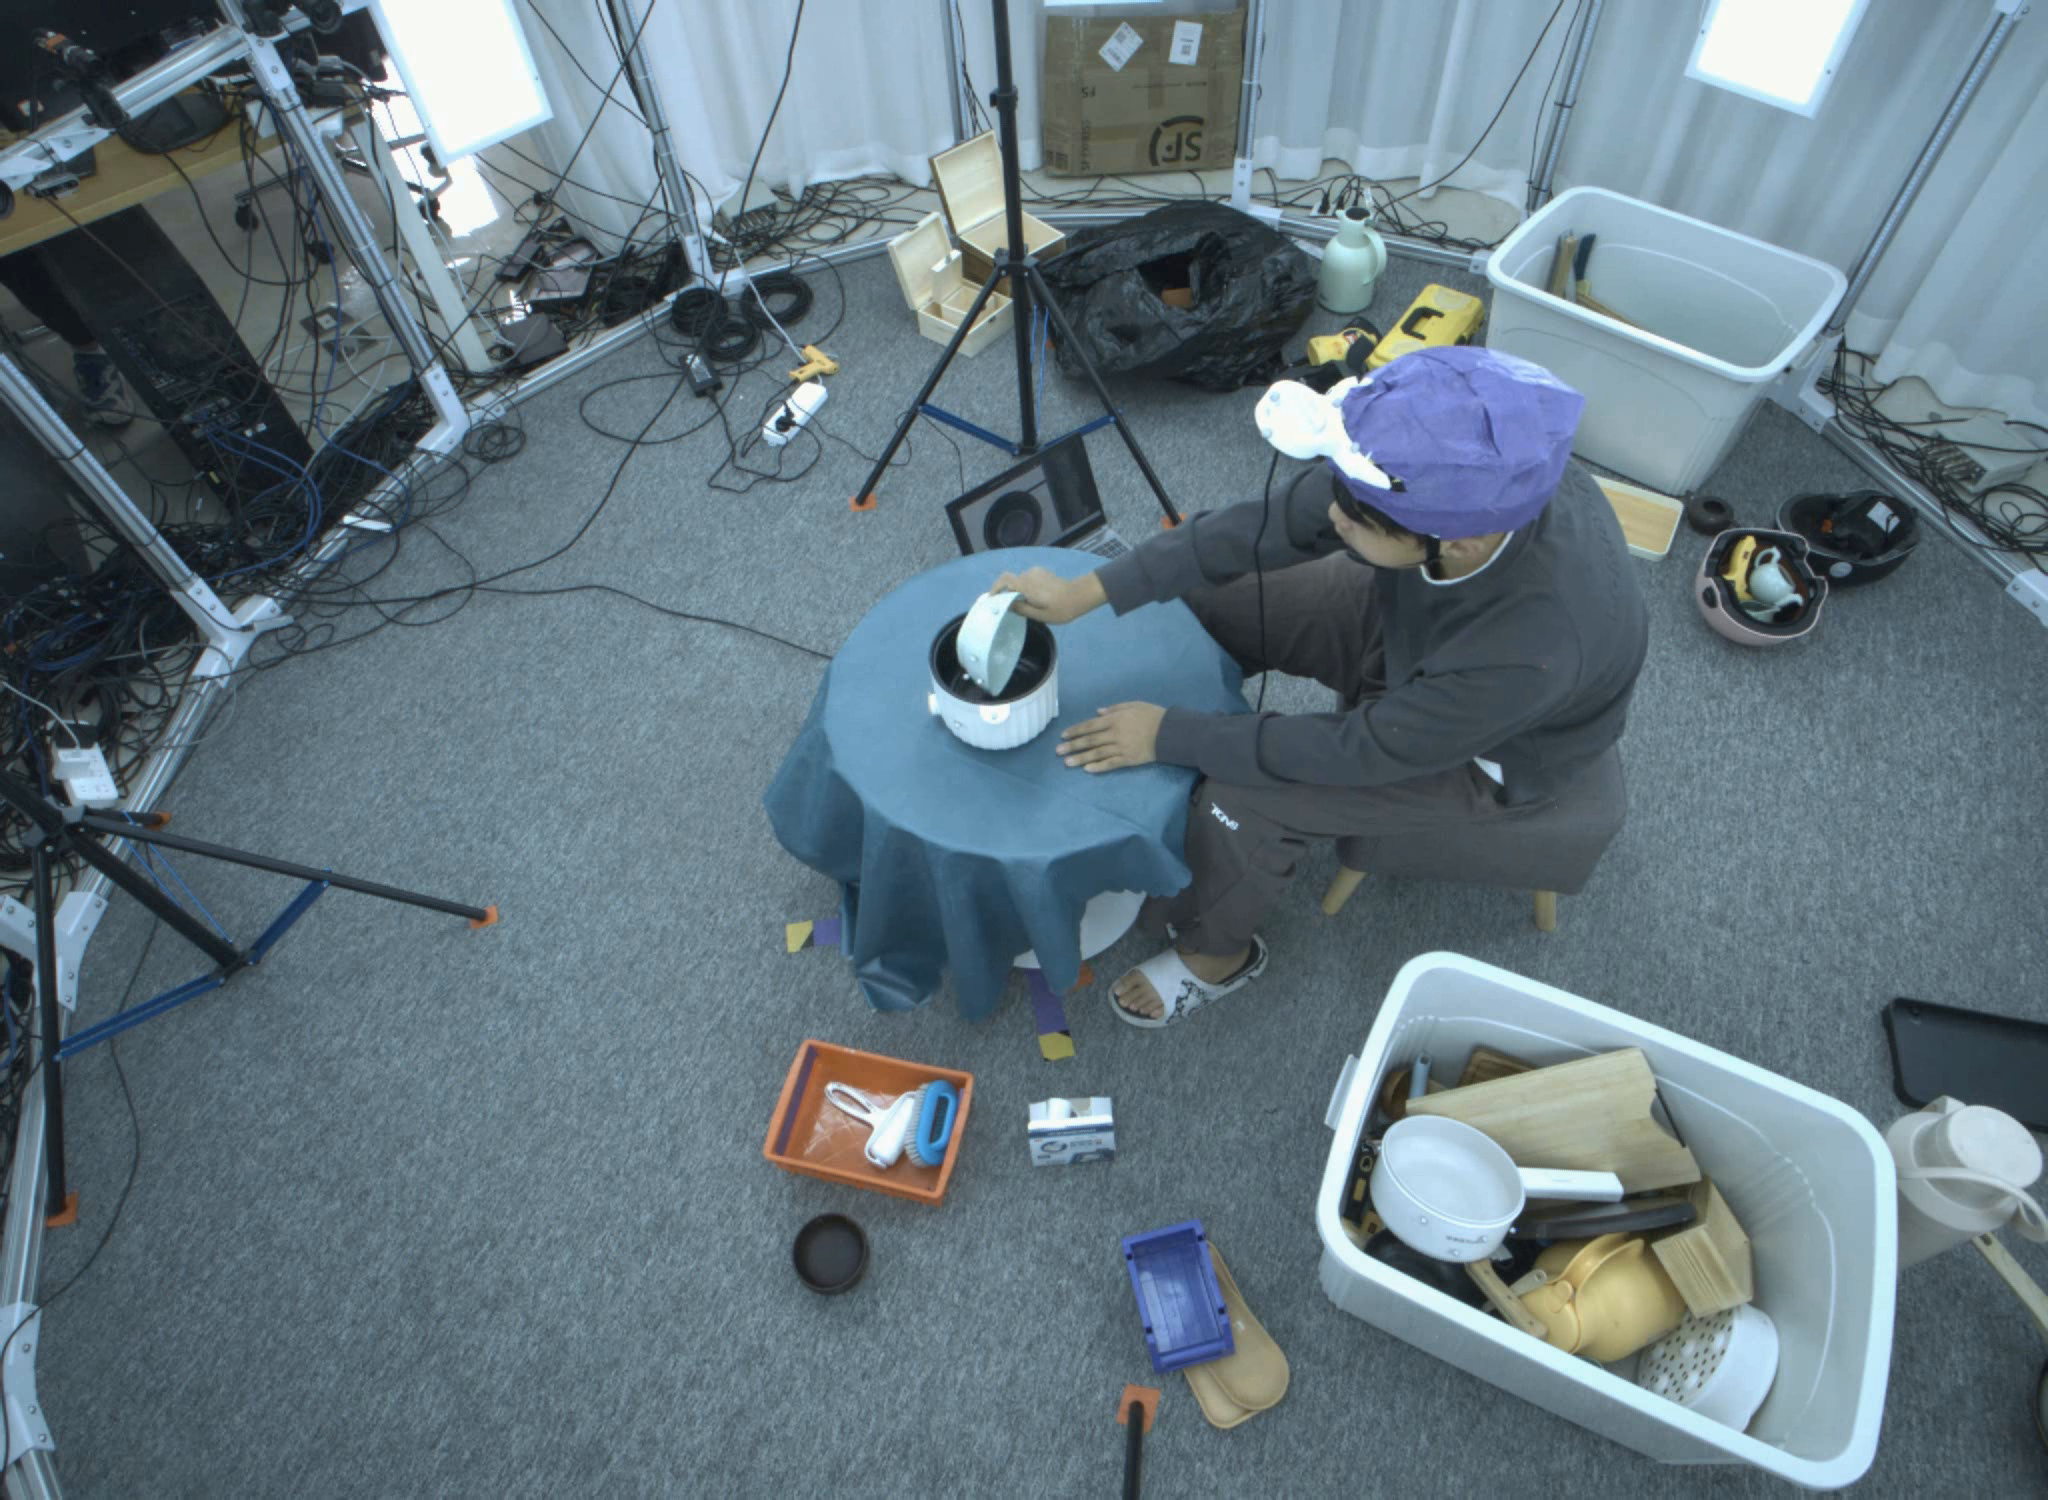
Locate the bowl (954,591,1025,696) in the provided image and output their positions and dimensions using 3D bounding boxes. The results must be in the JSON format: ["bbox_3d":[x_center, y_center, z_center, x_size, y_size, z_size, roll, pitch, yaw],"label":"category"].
[{"bbox_3d":[-0.053,-0.156,1.718,0.058,0.153,0.151,19,58,15],"label":"bowl"}]

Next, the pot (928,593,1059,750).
[{"bbox_3d":[-0.045,-0.095,1.769,0.191,0.144,0.237,-3,53,-4],"label":"pot"}]
